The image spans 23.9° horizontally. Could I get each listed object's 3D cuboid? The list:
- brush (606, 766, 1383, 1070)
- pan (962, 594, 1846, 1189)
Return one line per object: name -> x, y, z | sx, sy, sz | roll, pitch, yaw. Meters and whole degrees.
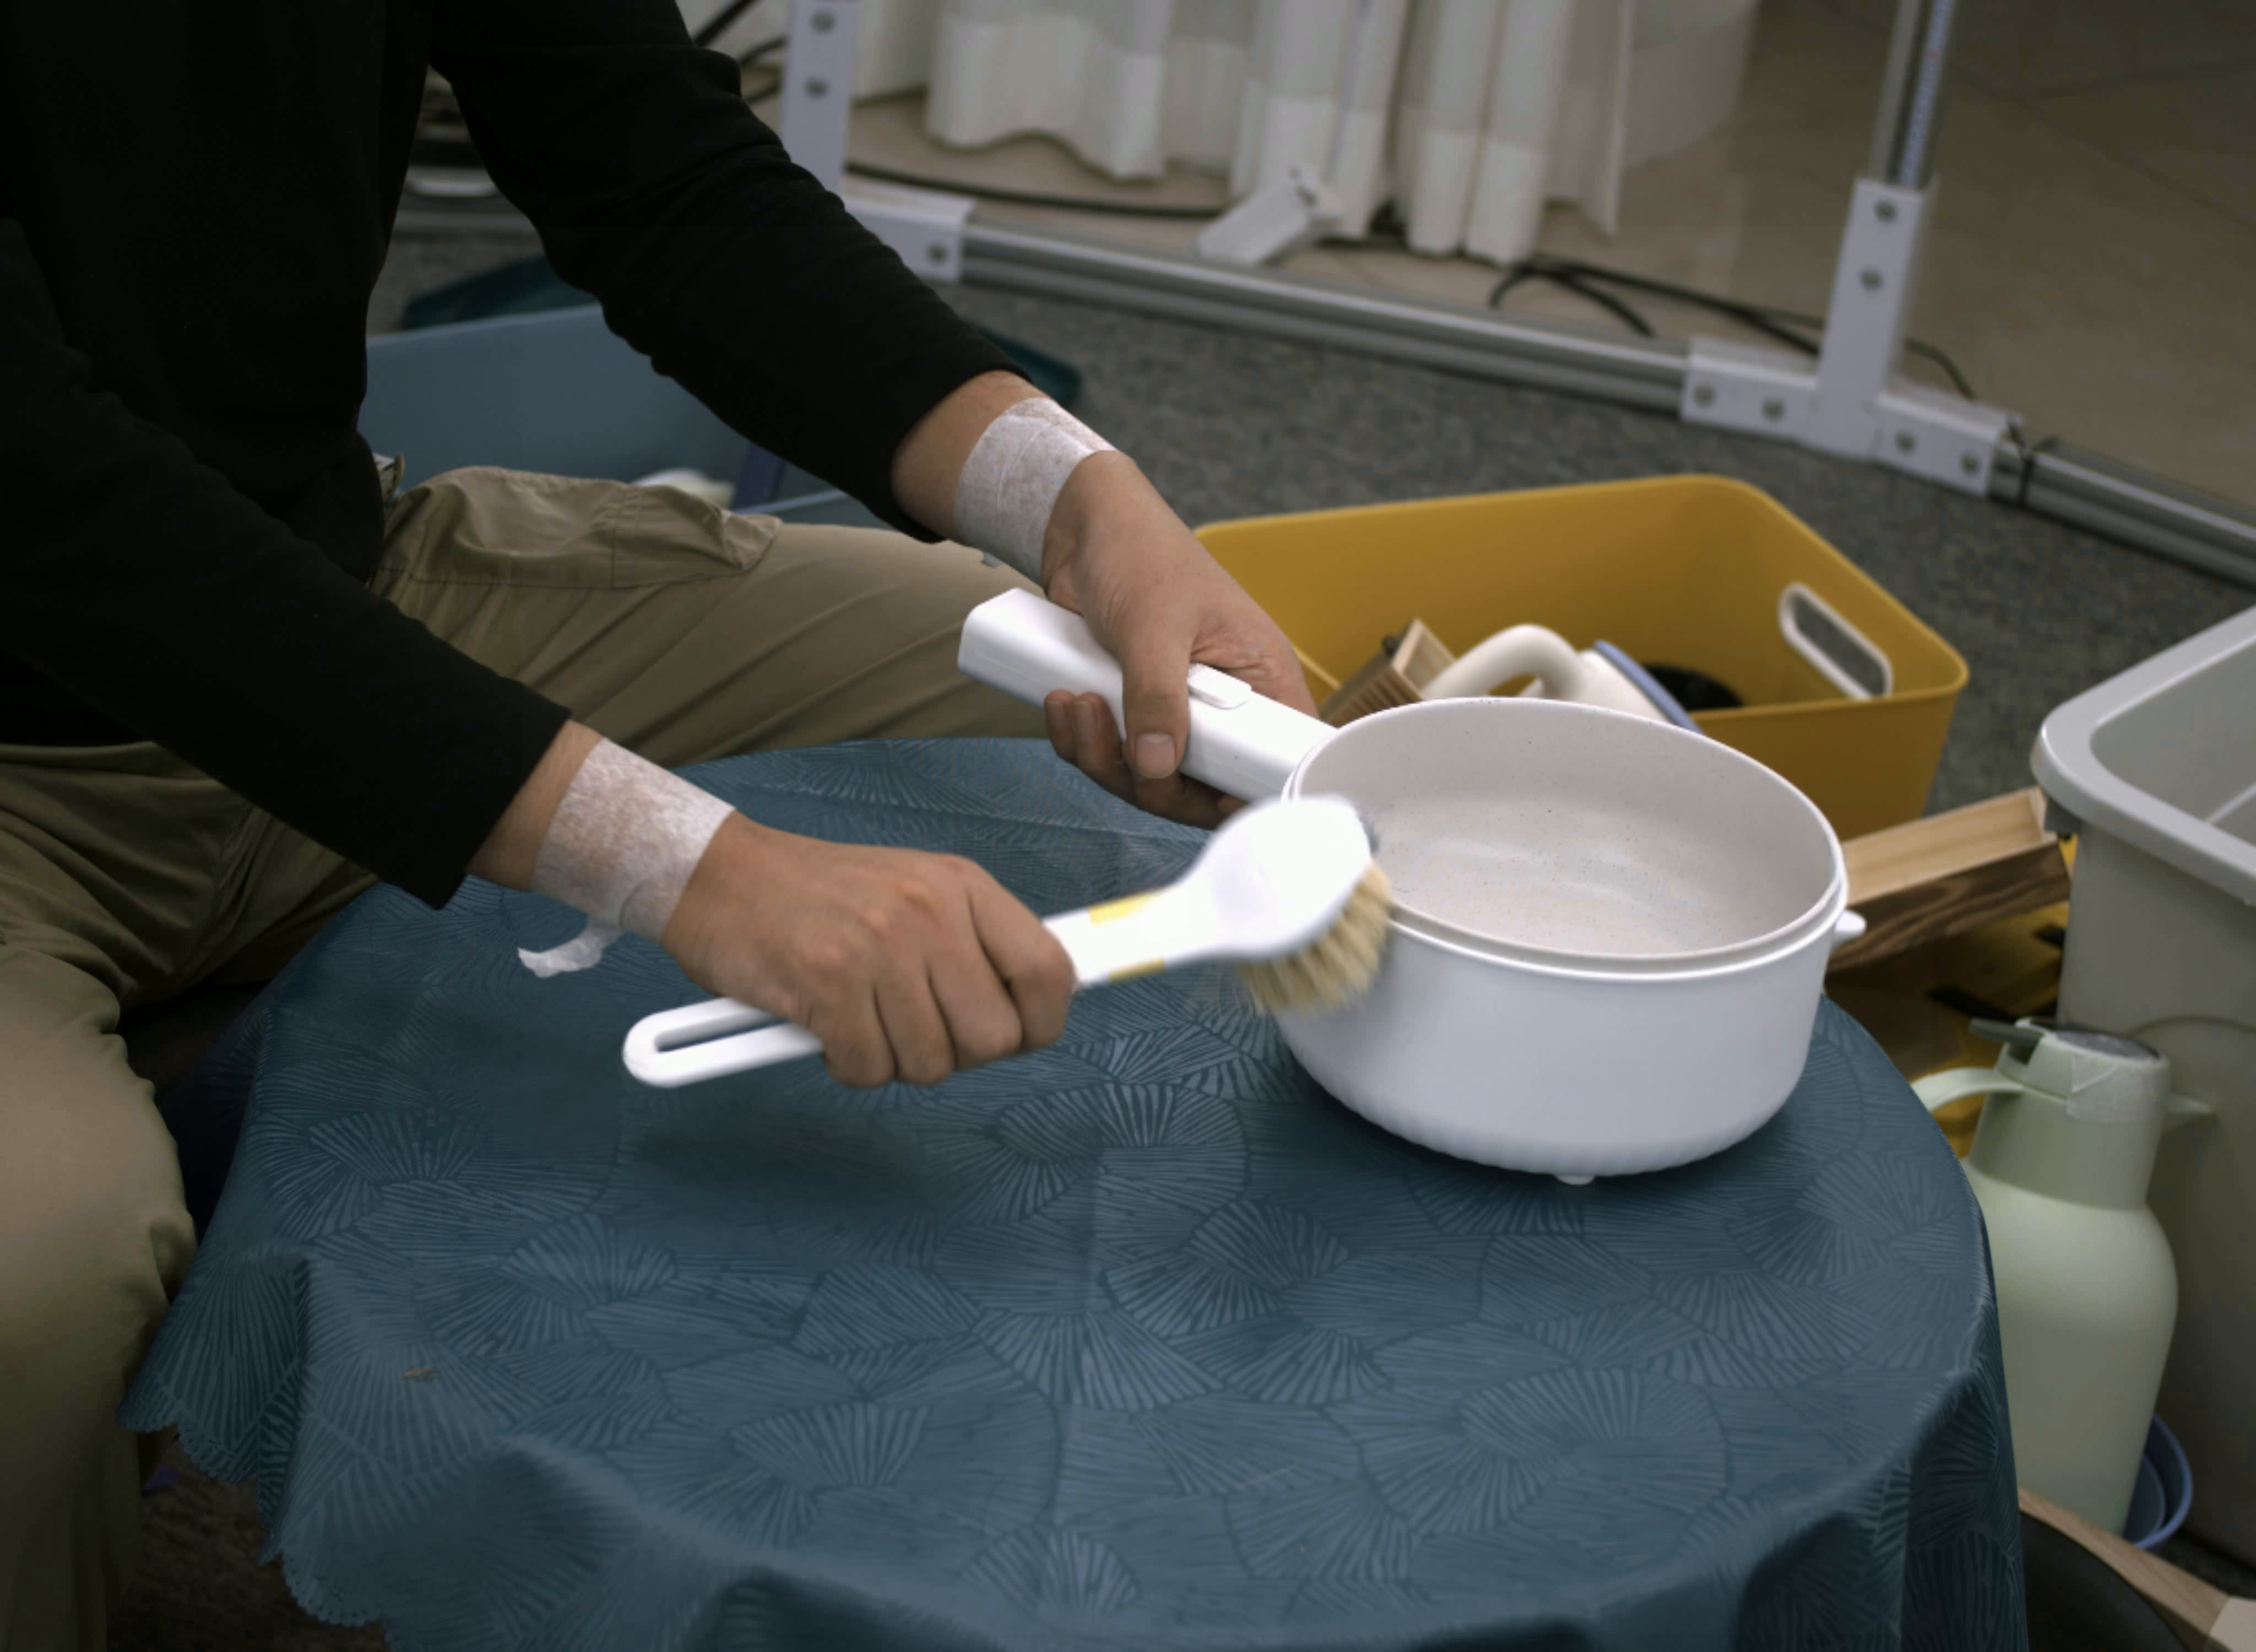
brush -> -0.043, 0.047, 1.784 | 0.266, 0.056, 0.069 | -19, 41, -6
pan -> 0.086, 0.018, 1.922 | 0.357, 0.102, 0.200 | 23, 32, 30
